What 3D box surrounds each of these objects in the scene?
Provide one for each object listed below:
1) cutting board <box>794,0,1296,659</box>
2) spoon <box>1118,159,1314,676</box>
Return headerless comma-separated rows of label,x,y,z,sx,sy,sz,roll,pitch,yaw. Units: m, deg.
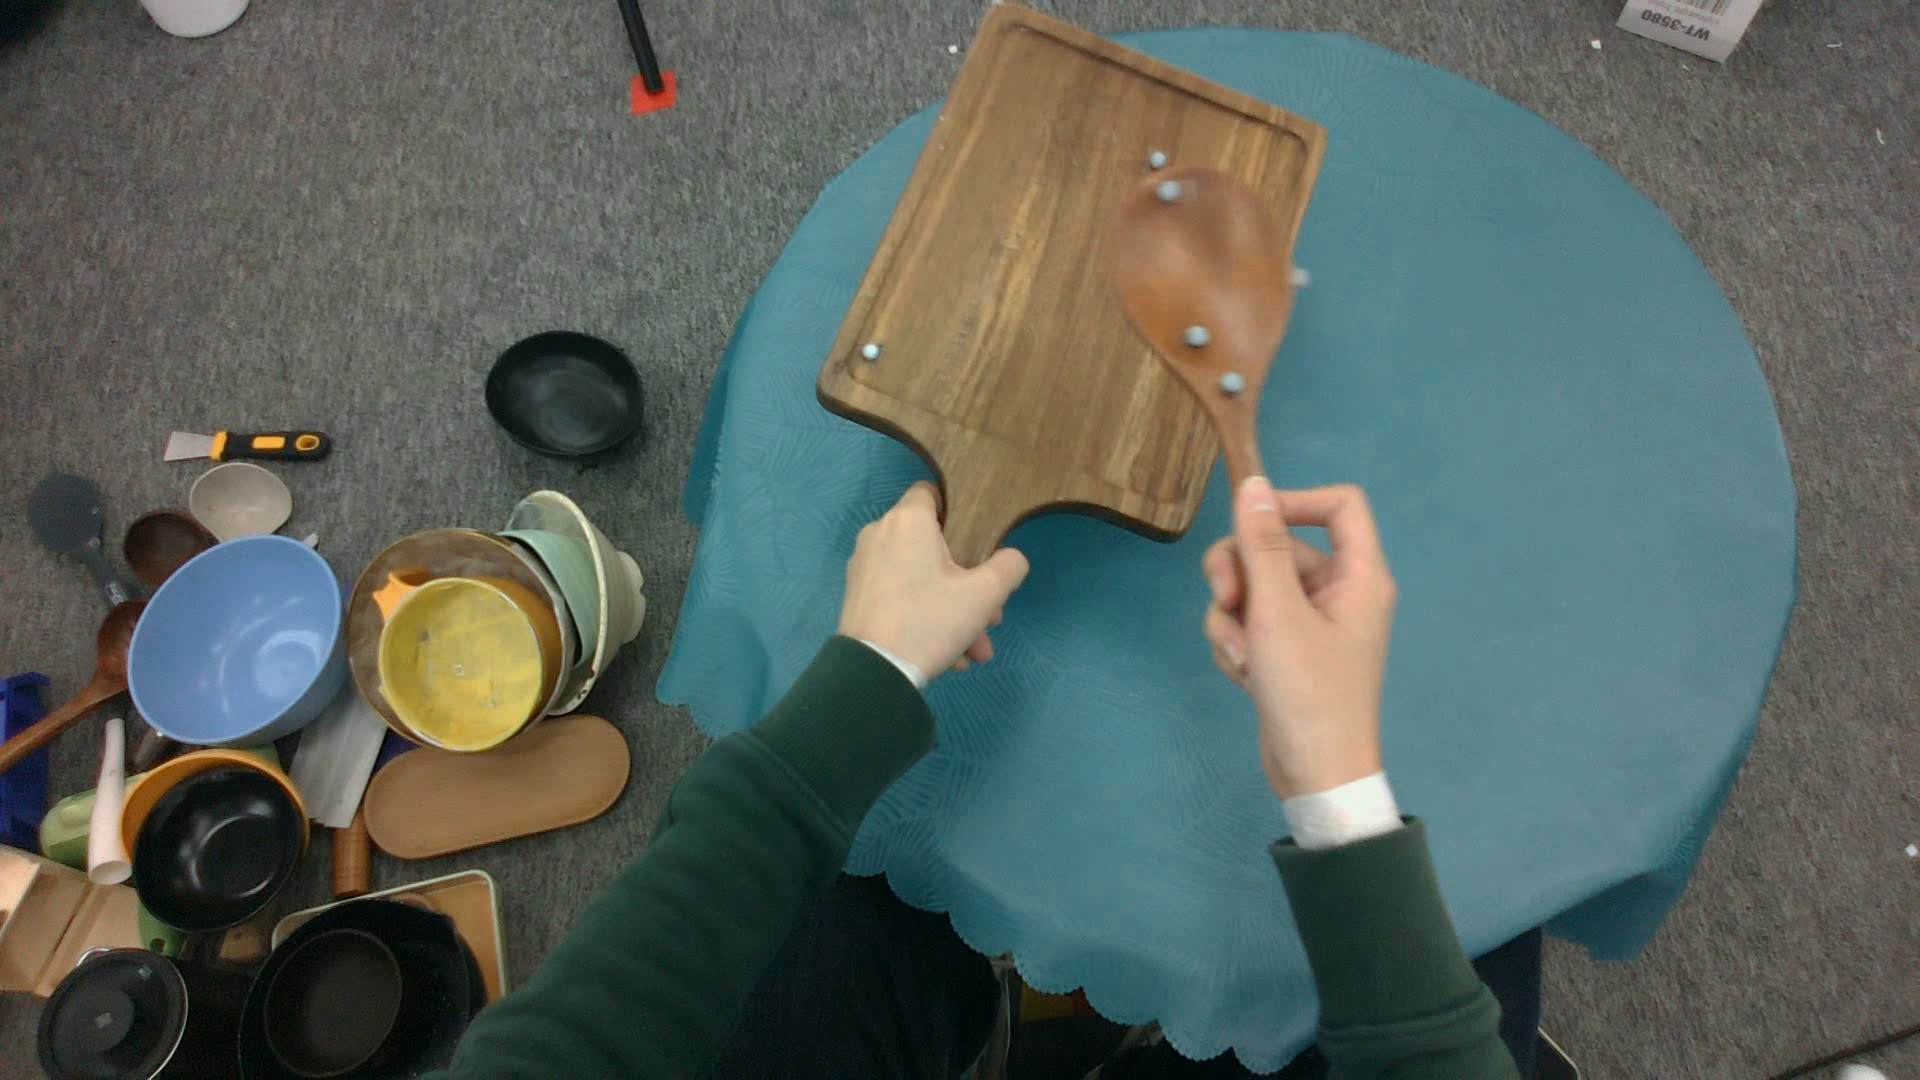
cutting board,0.034,-0.106,0.689,0.201,0.023,0.353,21,72,-2
spoon,0.110,-0.052,0.554,0.075,0.017,0.216,-7,77,-4
